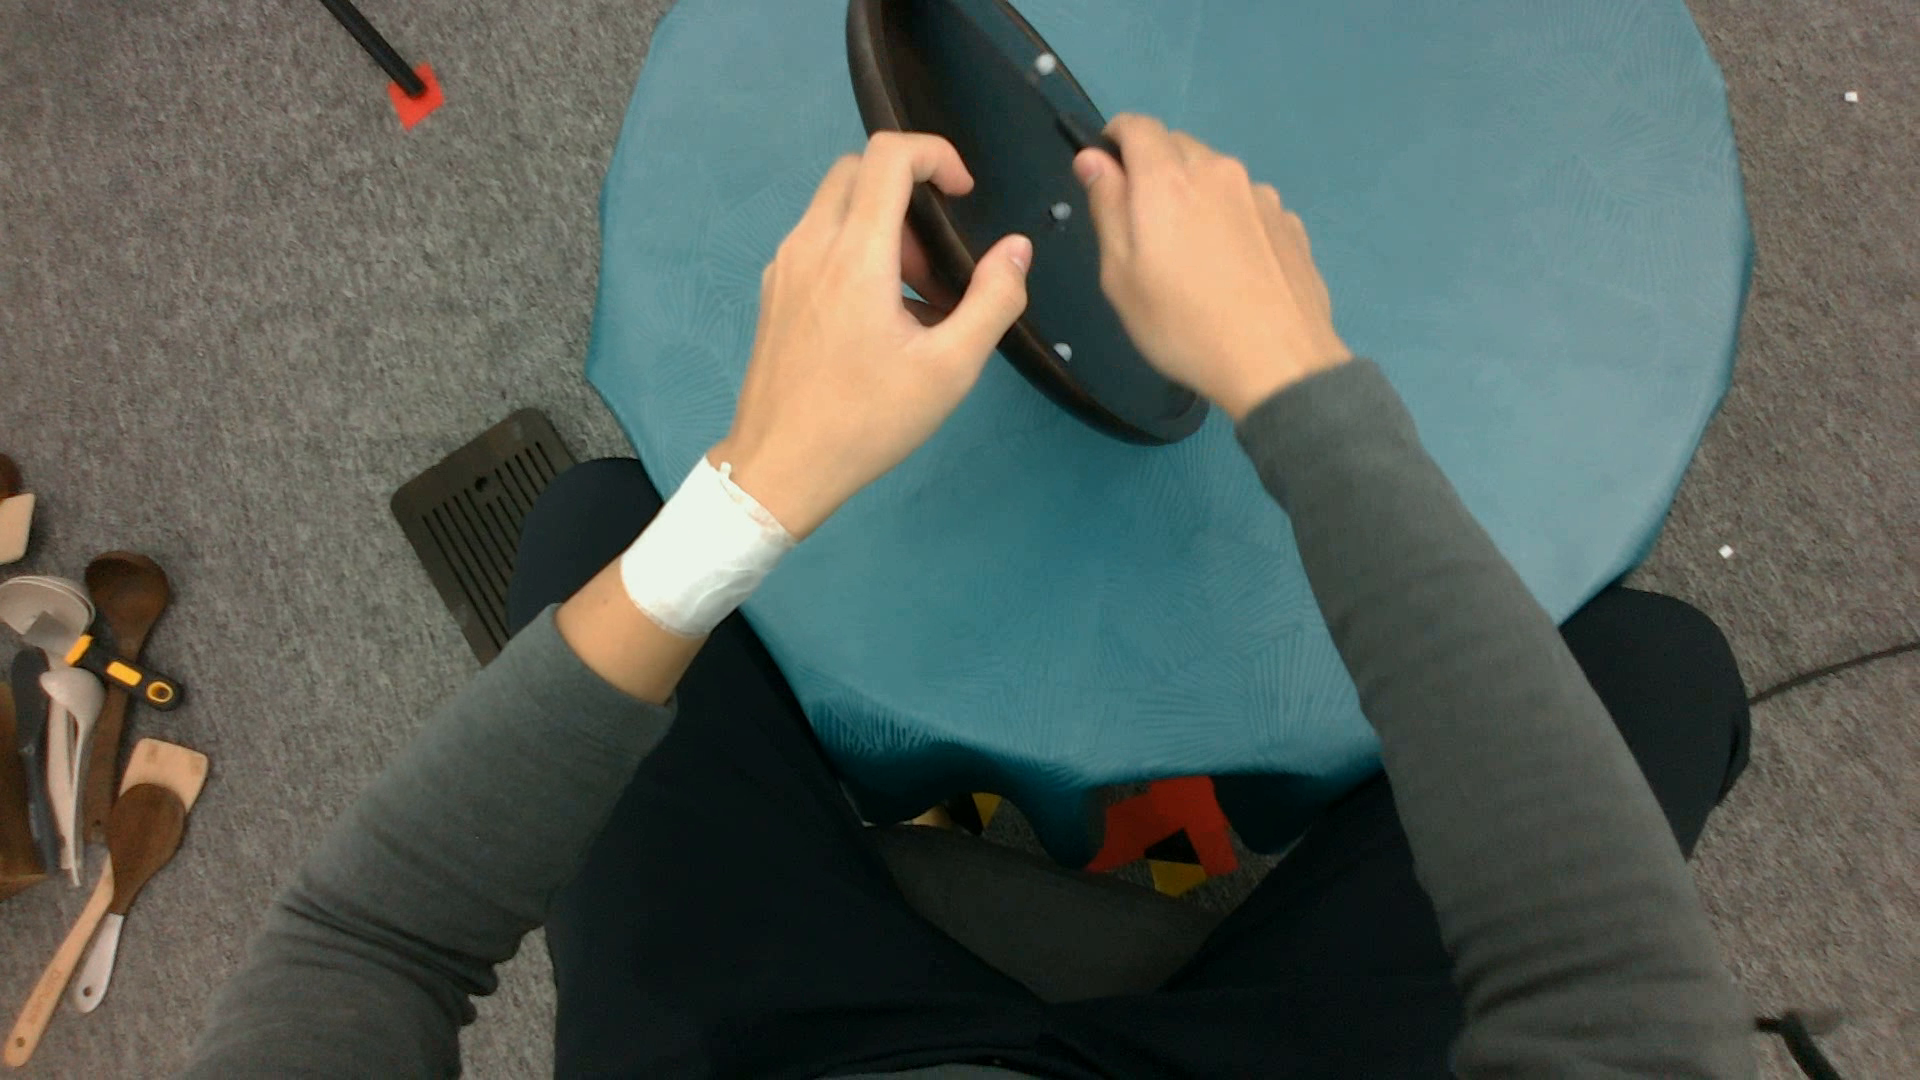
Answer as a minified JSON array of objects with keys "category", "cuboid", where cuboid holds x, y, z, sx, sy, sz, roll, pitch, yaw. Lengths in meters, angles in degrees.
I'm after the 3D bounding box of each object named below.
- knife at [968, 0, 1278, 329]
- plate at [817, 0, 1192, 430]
[{"category":"knife","cuboid":[0.041,-0.210,0.623,0.021,0.081,0.302,-44,72,24]},{"category":"plate","cuboid":[0.026,-0.160,0.621,0.029,0.255,0.255,-30,76,27]}]
